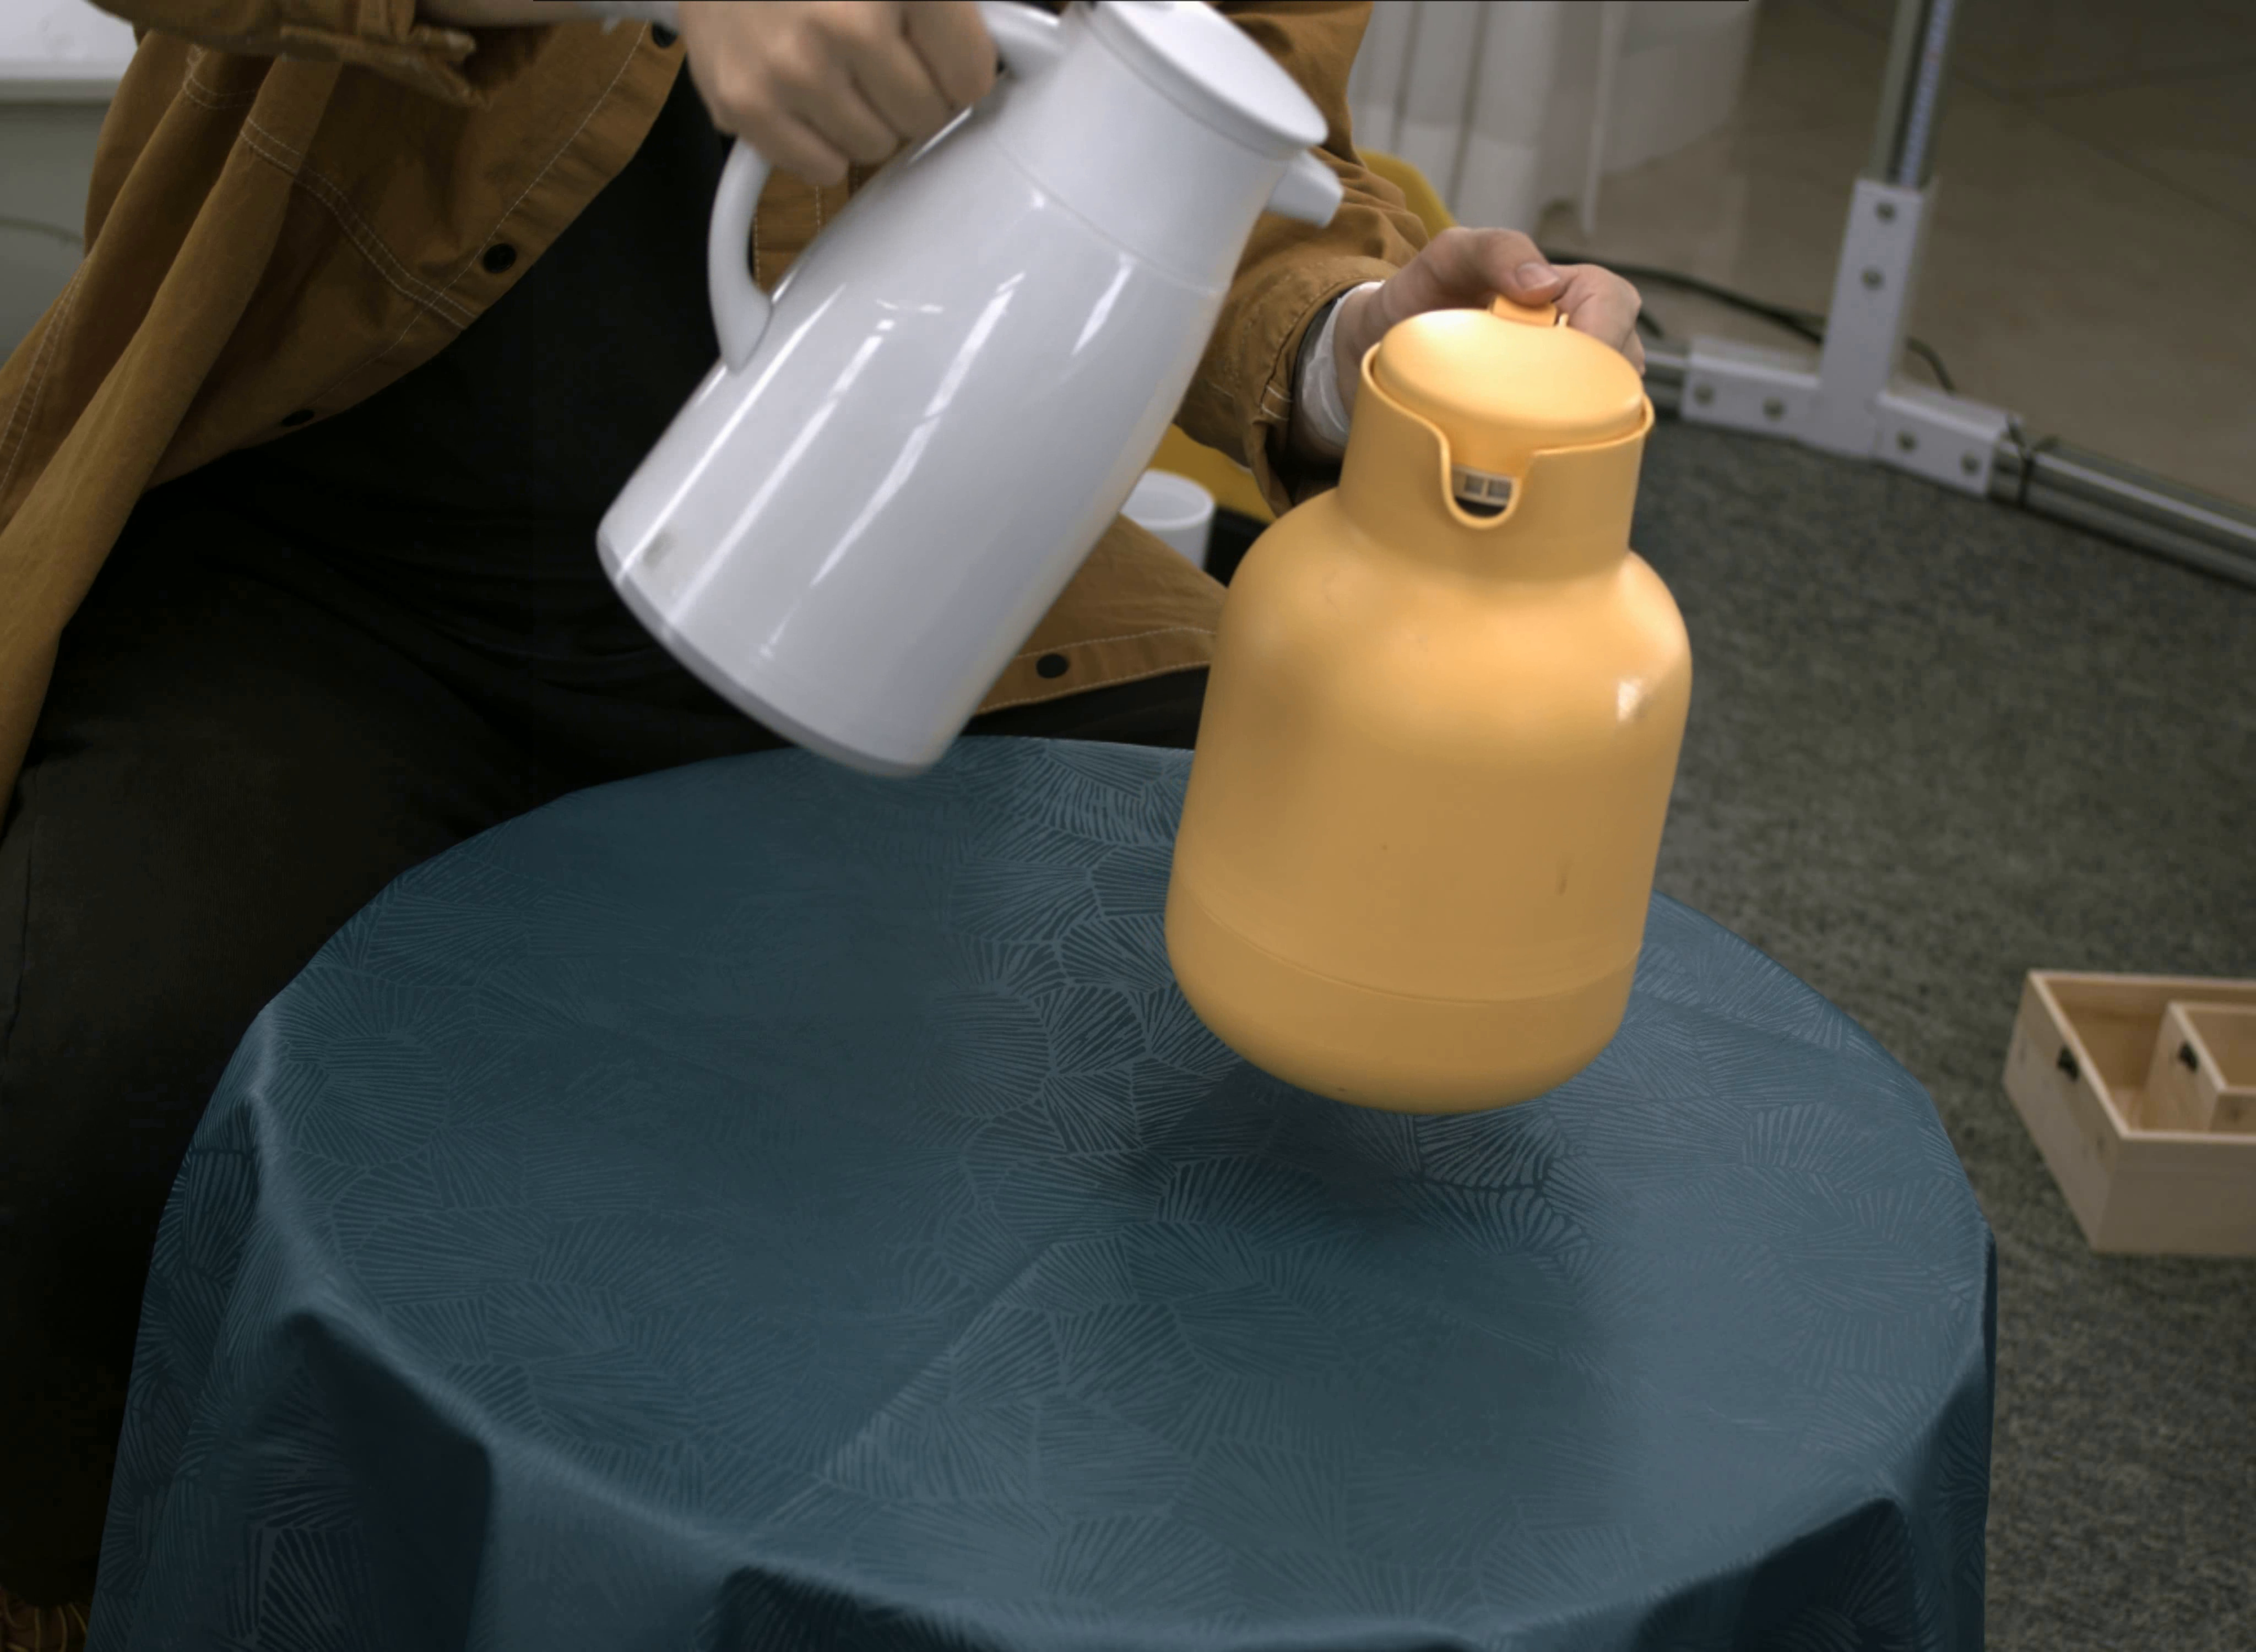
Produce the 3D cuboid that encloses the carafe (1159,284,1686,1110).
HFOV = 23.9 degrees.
[{"bbox_3d":[0.110,-0.053,1.803,0.163,0.259,0.203,14,28,6],"label":"carafe"}]

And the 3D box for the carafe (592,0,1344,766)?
[{"bbox_3d":[-0.058,-0.163,1.650,0.166,0.248,0.133,31,19,-22],"label":"carafe"}]
